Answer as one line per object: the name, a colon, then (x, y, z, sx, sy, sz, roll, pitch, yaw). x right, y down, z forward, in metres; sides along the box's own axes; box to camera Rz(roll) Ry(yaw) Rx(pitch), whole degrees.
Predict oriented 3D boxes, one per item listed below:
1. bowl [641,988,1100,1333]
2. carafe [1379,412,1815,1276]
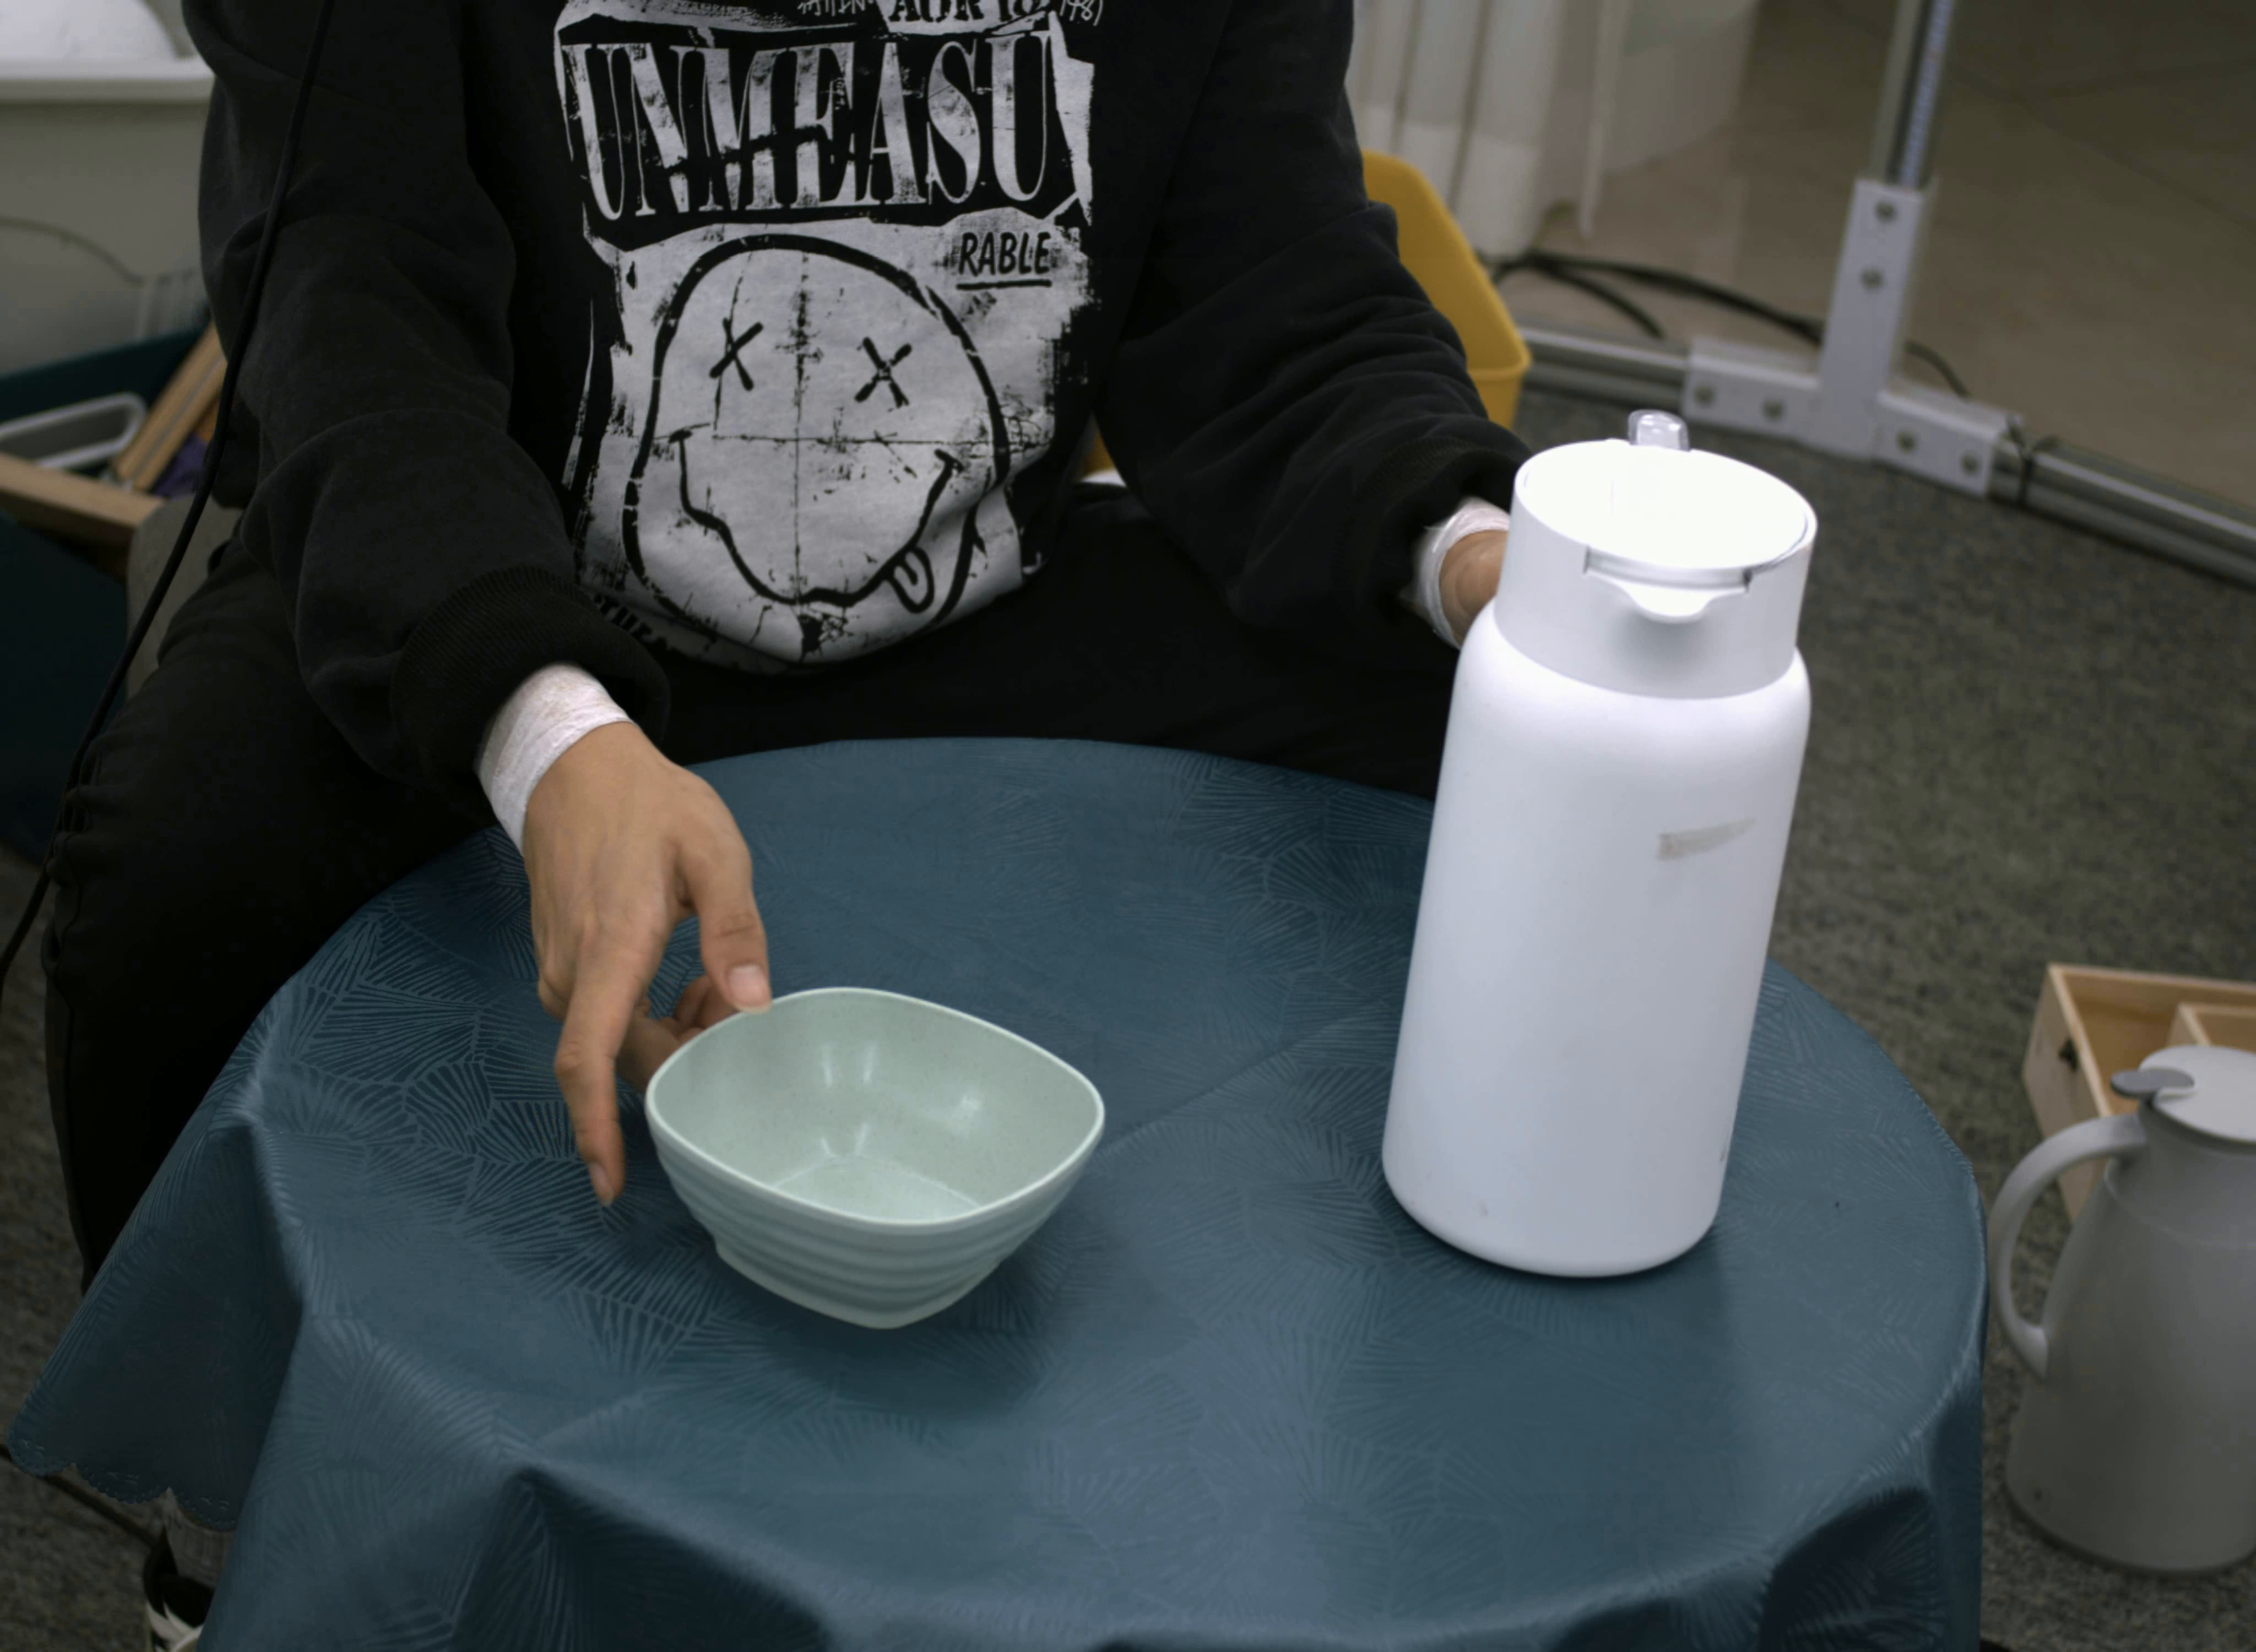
bowl: (-0.086, 0.115, 1.744, 0.151, 0.058, 0.152, 6, 27, -3)
carafe: (0.157, 0.002, 1.786, 0.123, 0.268, 0.174, 4, 27, -1)
